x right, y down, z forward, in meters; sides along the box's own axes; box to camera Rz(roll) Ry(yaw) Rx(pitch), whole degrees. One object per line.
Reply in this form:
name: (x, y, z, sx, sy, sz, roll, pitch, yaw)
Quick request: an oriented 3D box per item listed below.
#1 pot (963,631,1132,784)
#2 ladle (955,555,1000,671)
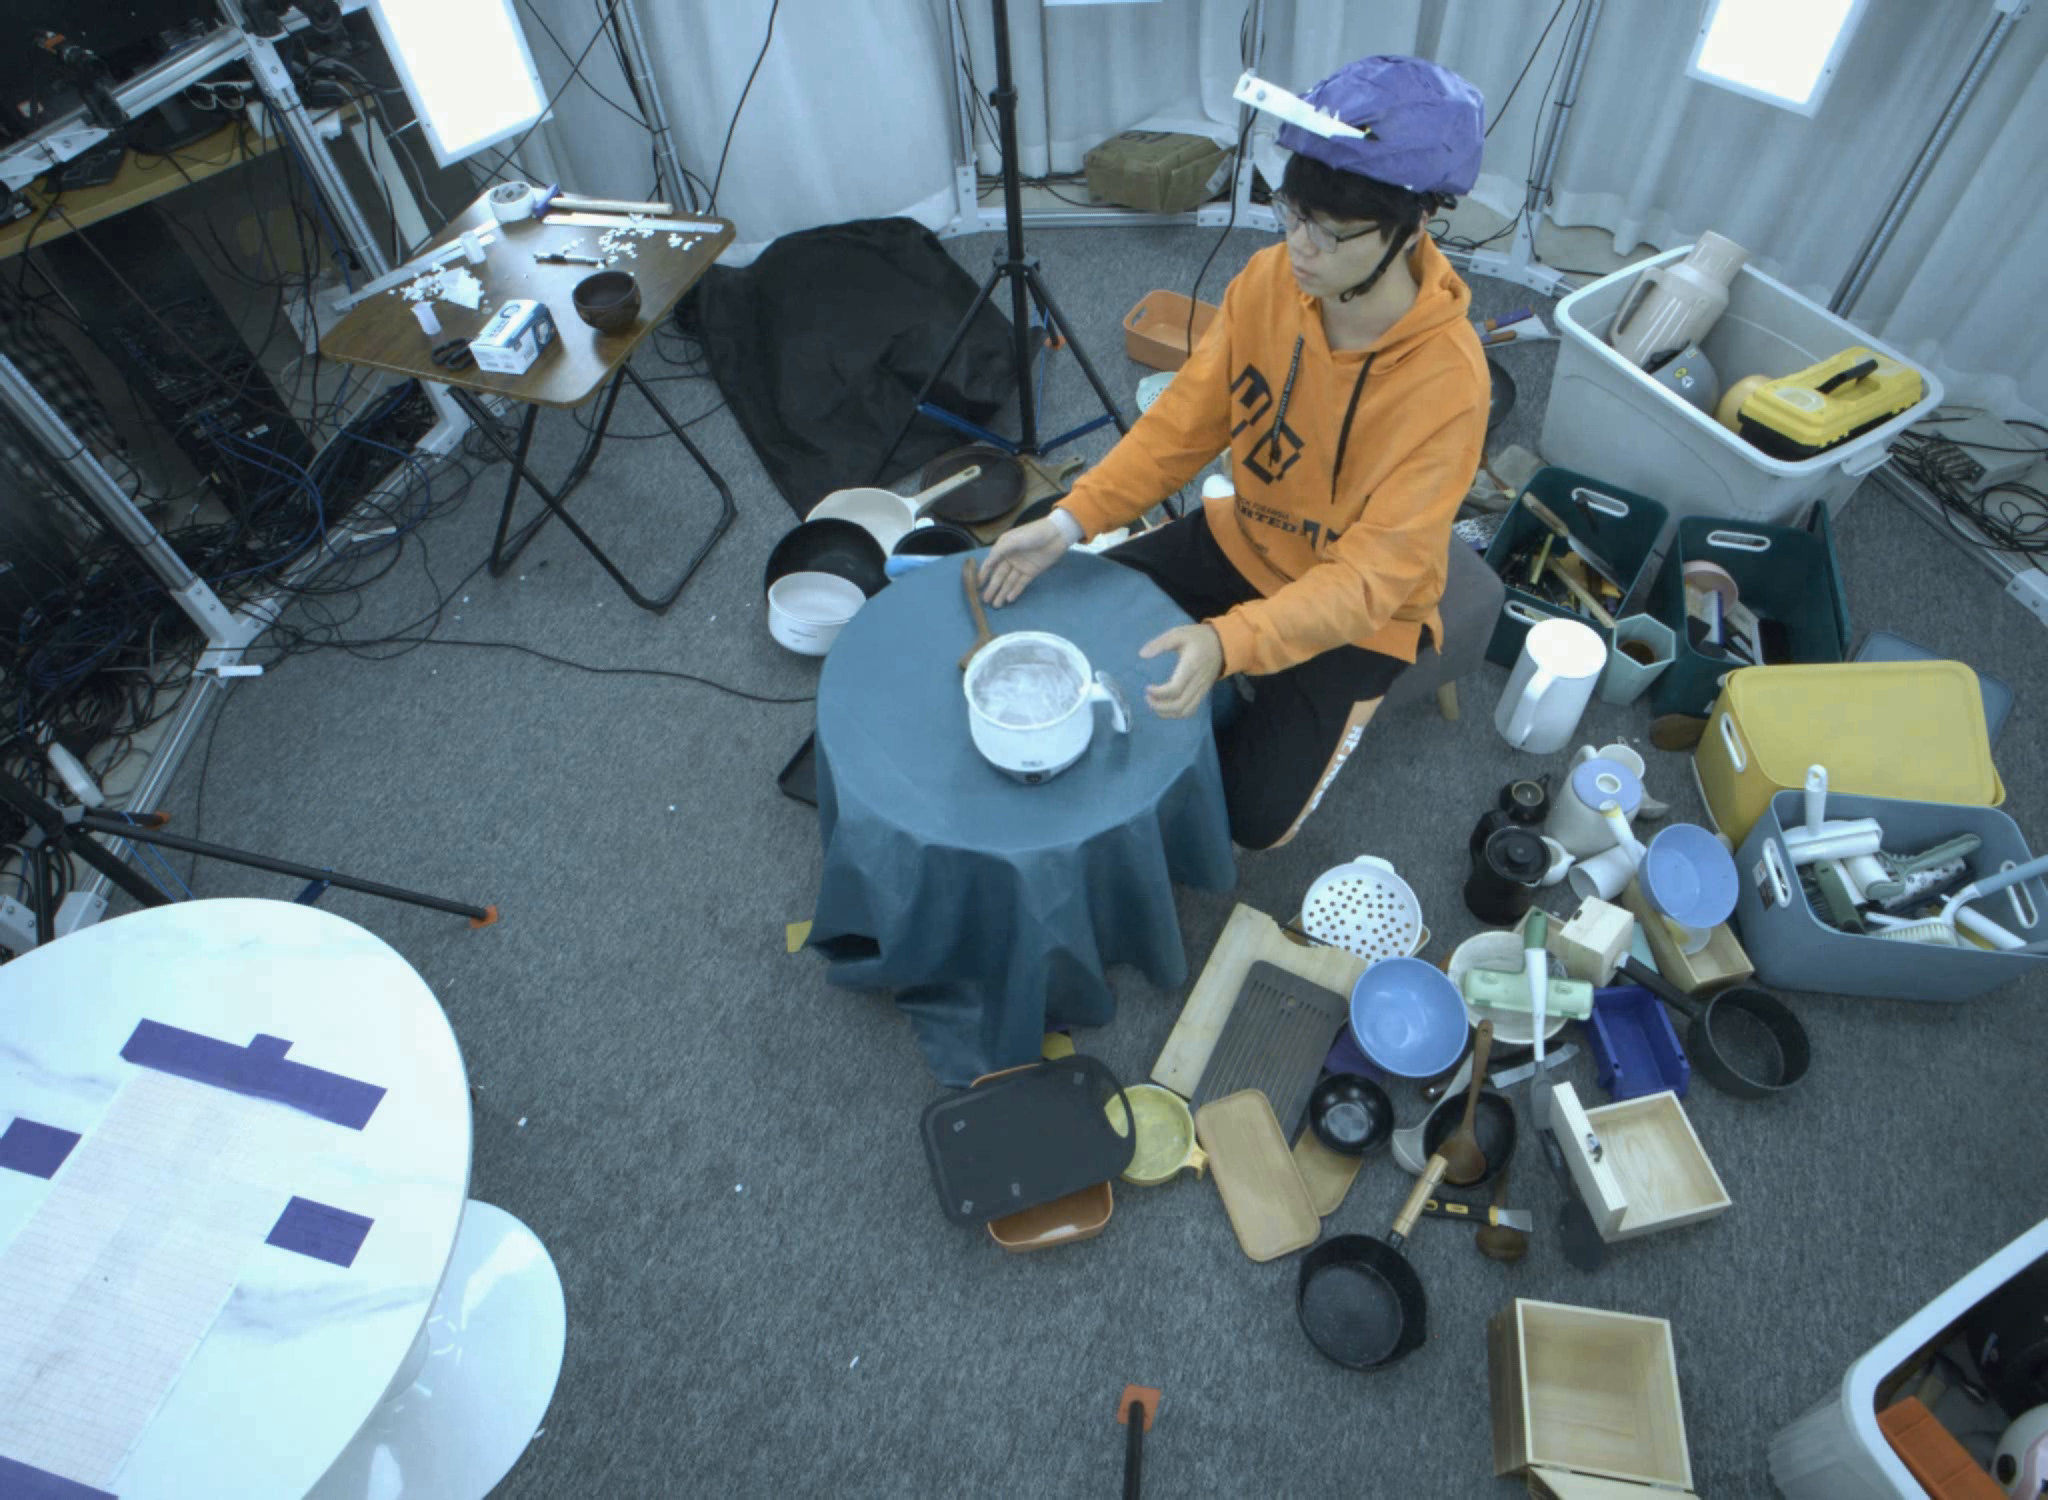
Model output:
pot: (0.036, -0.061, 1.745, 0.234, 0.138, 0.176, -4, 55, 0)
ladle: (-0.082, -0.224, 1.911, 0.076, 0.066, 0.256, -23, 54, 18)
